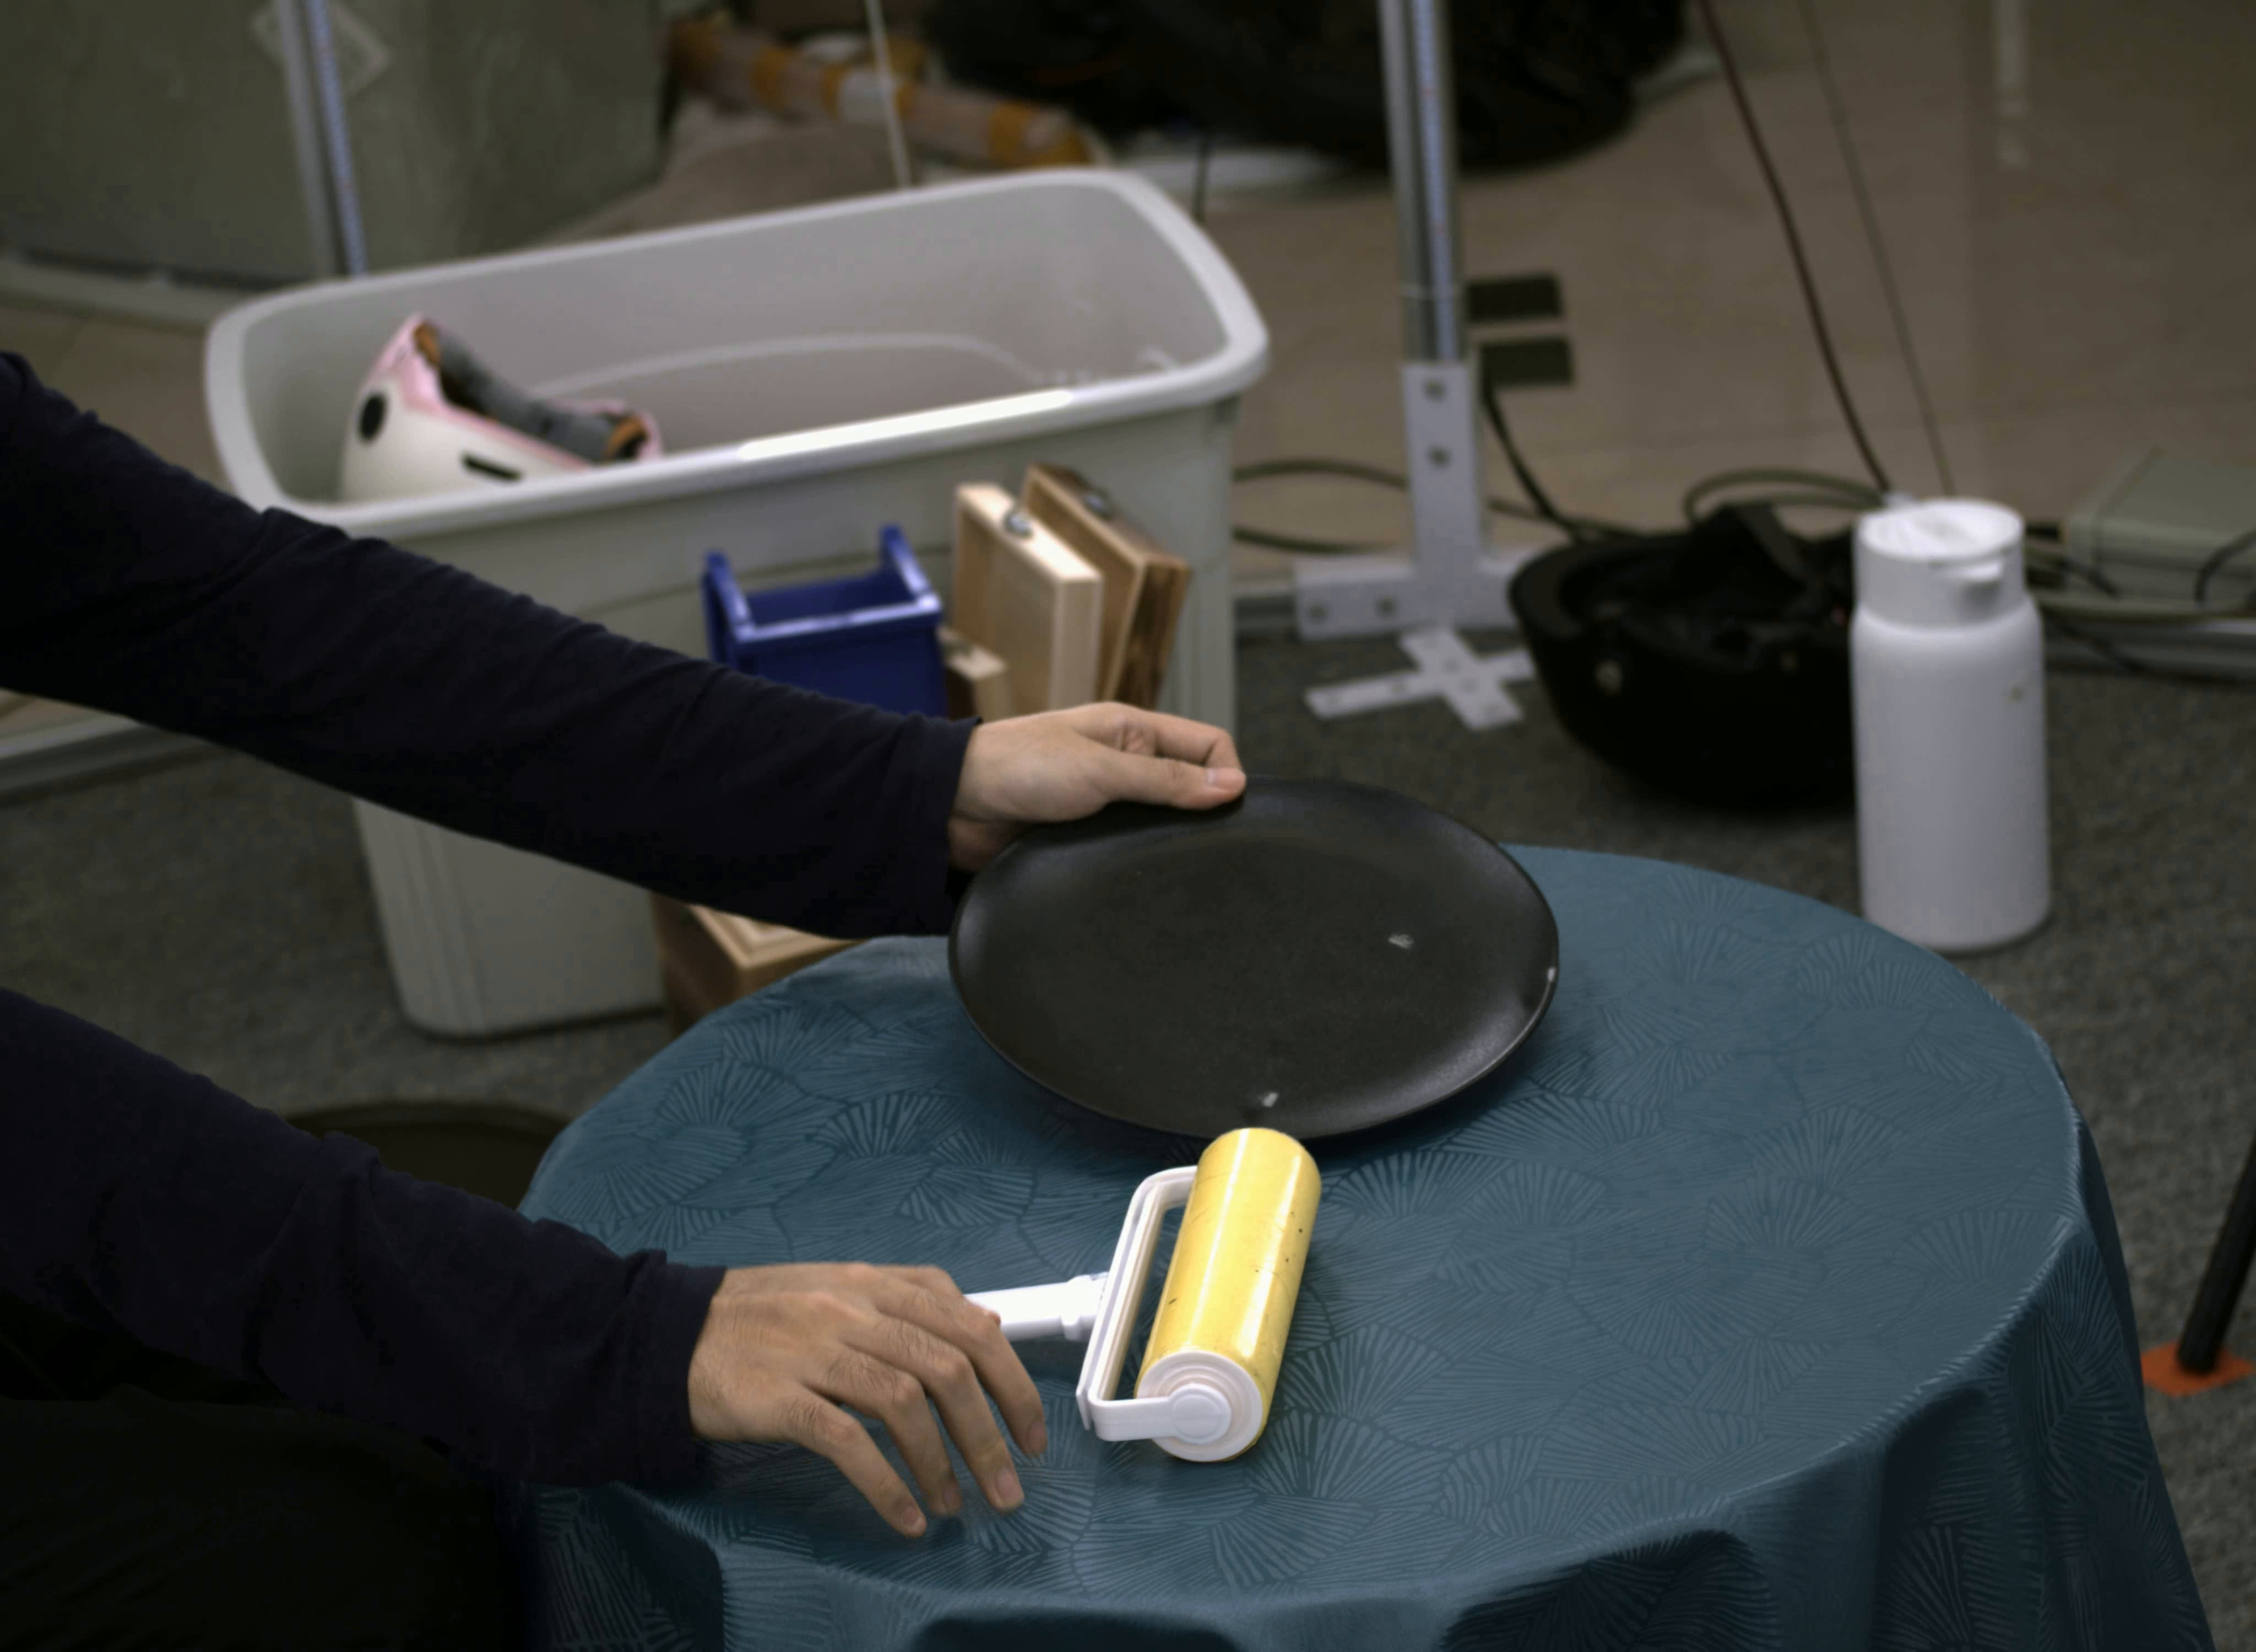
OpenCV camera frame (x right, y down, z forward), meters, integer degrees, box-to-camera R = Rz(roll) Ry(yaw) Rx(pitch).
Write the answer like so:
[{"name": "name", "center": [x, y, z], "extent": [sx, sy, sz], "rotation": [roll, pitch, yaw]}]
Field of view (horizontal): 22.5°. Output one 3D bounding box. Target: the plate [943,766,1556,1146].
[{"name": "plate", "center": [0.048, 0.055, 2.246], "extent": [0.244, 0.024, 0.240], "rotation": [0, 37, 0]}]

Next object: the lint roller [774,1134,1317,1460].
[{"name": "lint roller", "center": [-0.034, 0.169, 2.038], "extent": [0.191, 0.052, 0.172], "rotation": [0, 25, 7]}]
